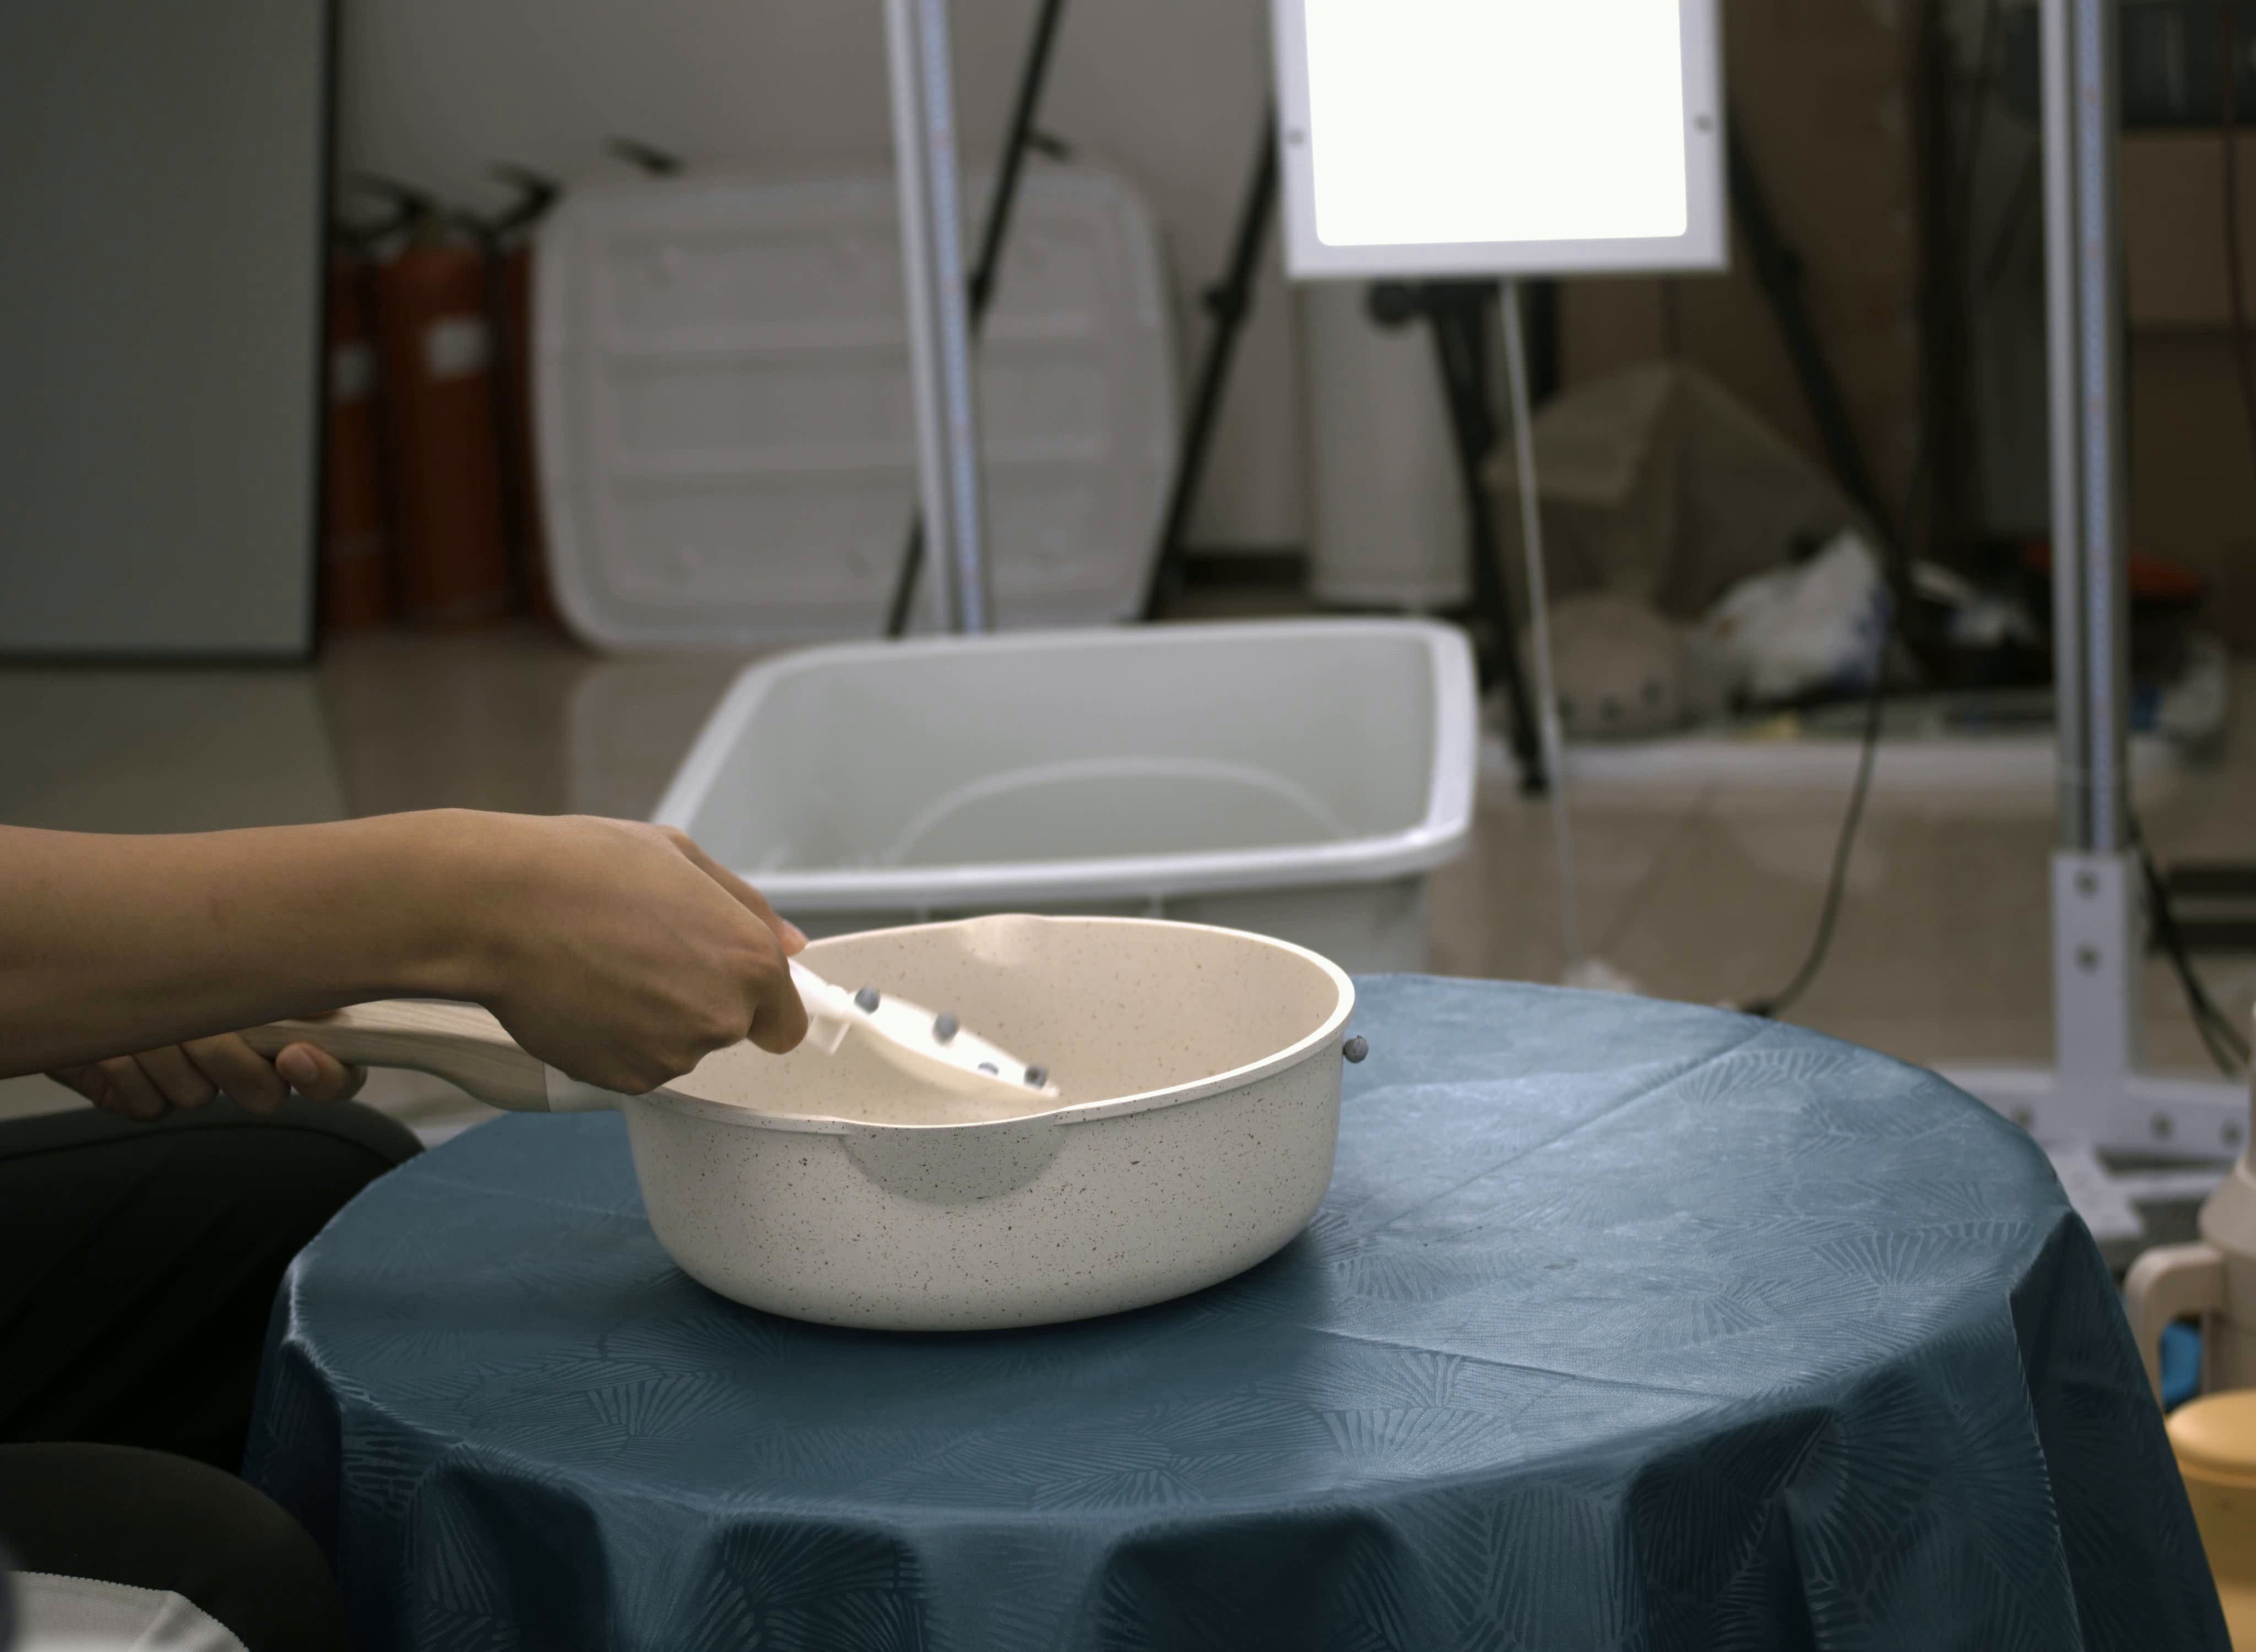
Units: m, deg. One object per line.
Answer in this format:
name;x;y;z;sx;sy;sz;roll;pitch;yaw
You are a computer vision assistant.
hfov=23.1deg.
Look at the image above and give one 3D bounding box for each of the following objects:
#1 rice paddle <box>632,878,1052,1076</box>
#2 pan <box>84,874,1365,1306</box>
rice paddle;-0.089;0.053;1.837;0.070;0.029;0.201;29;5;38
pan;-0.133;0.090;1.871;0.436;0.102;0.262;-4;16;5
